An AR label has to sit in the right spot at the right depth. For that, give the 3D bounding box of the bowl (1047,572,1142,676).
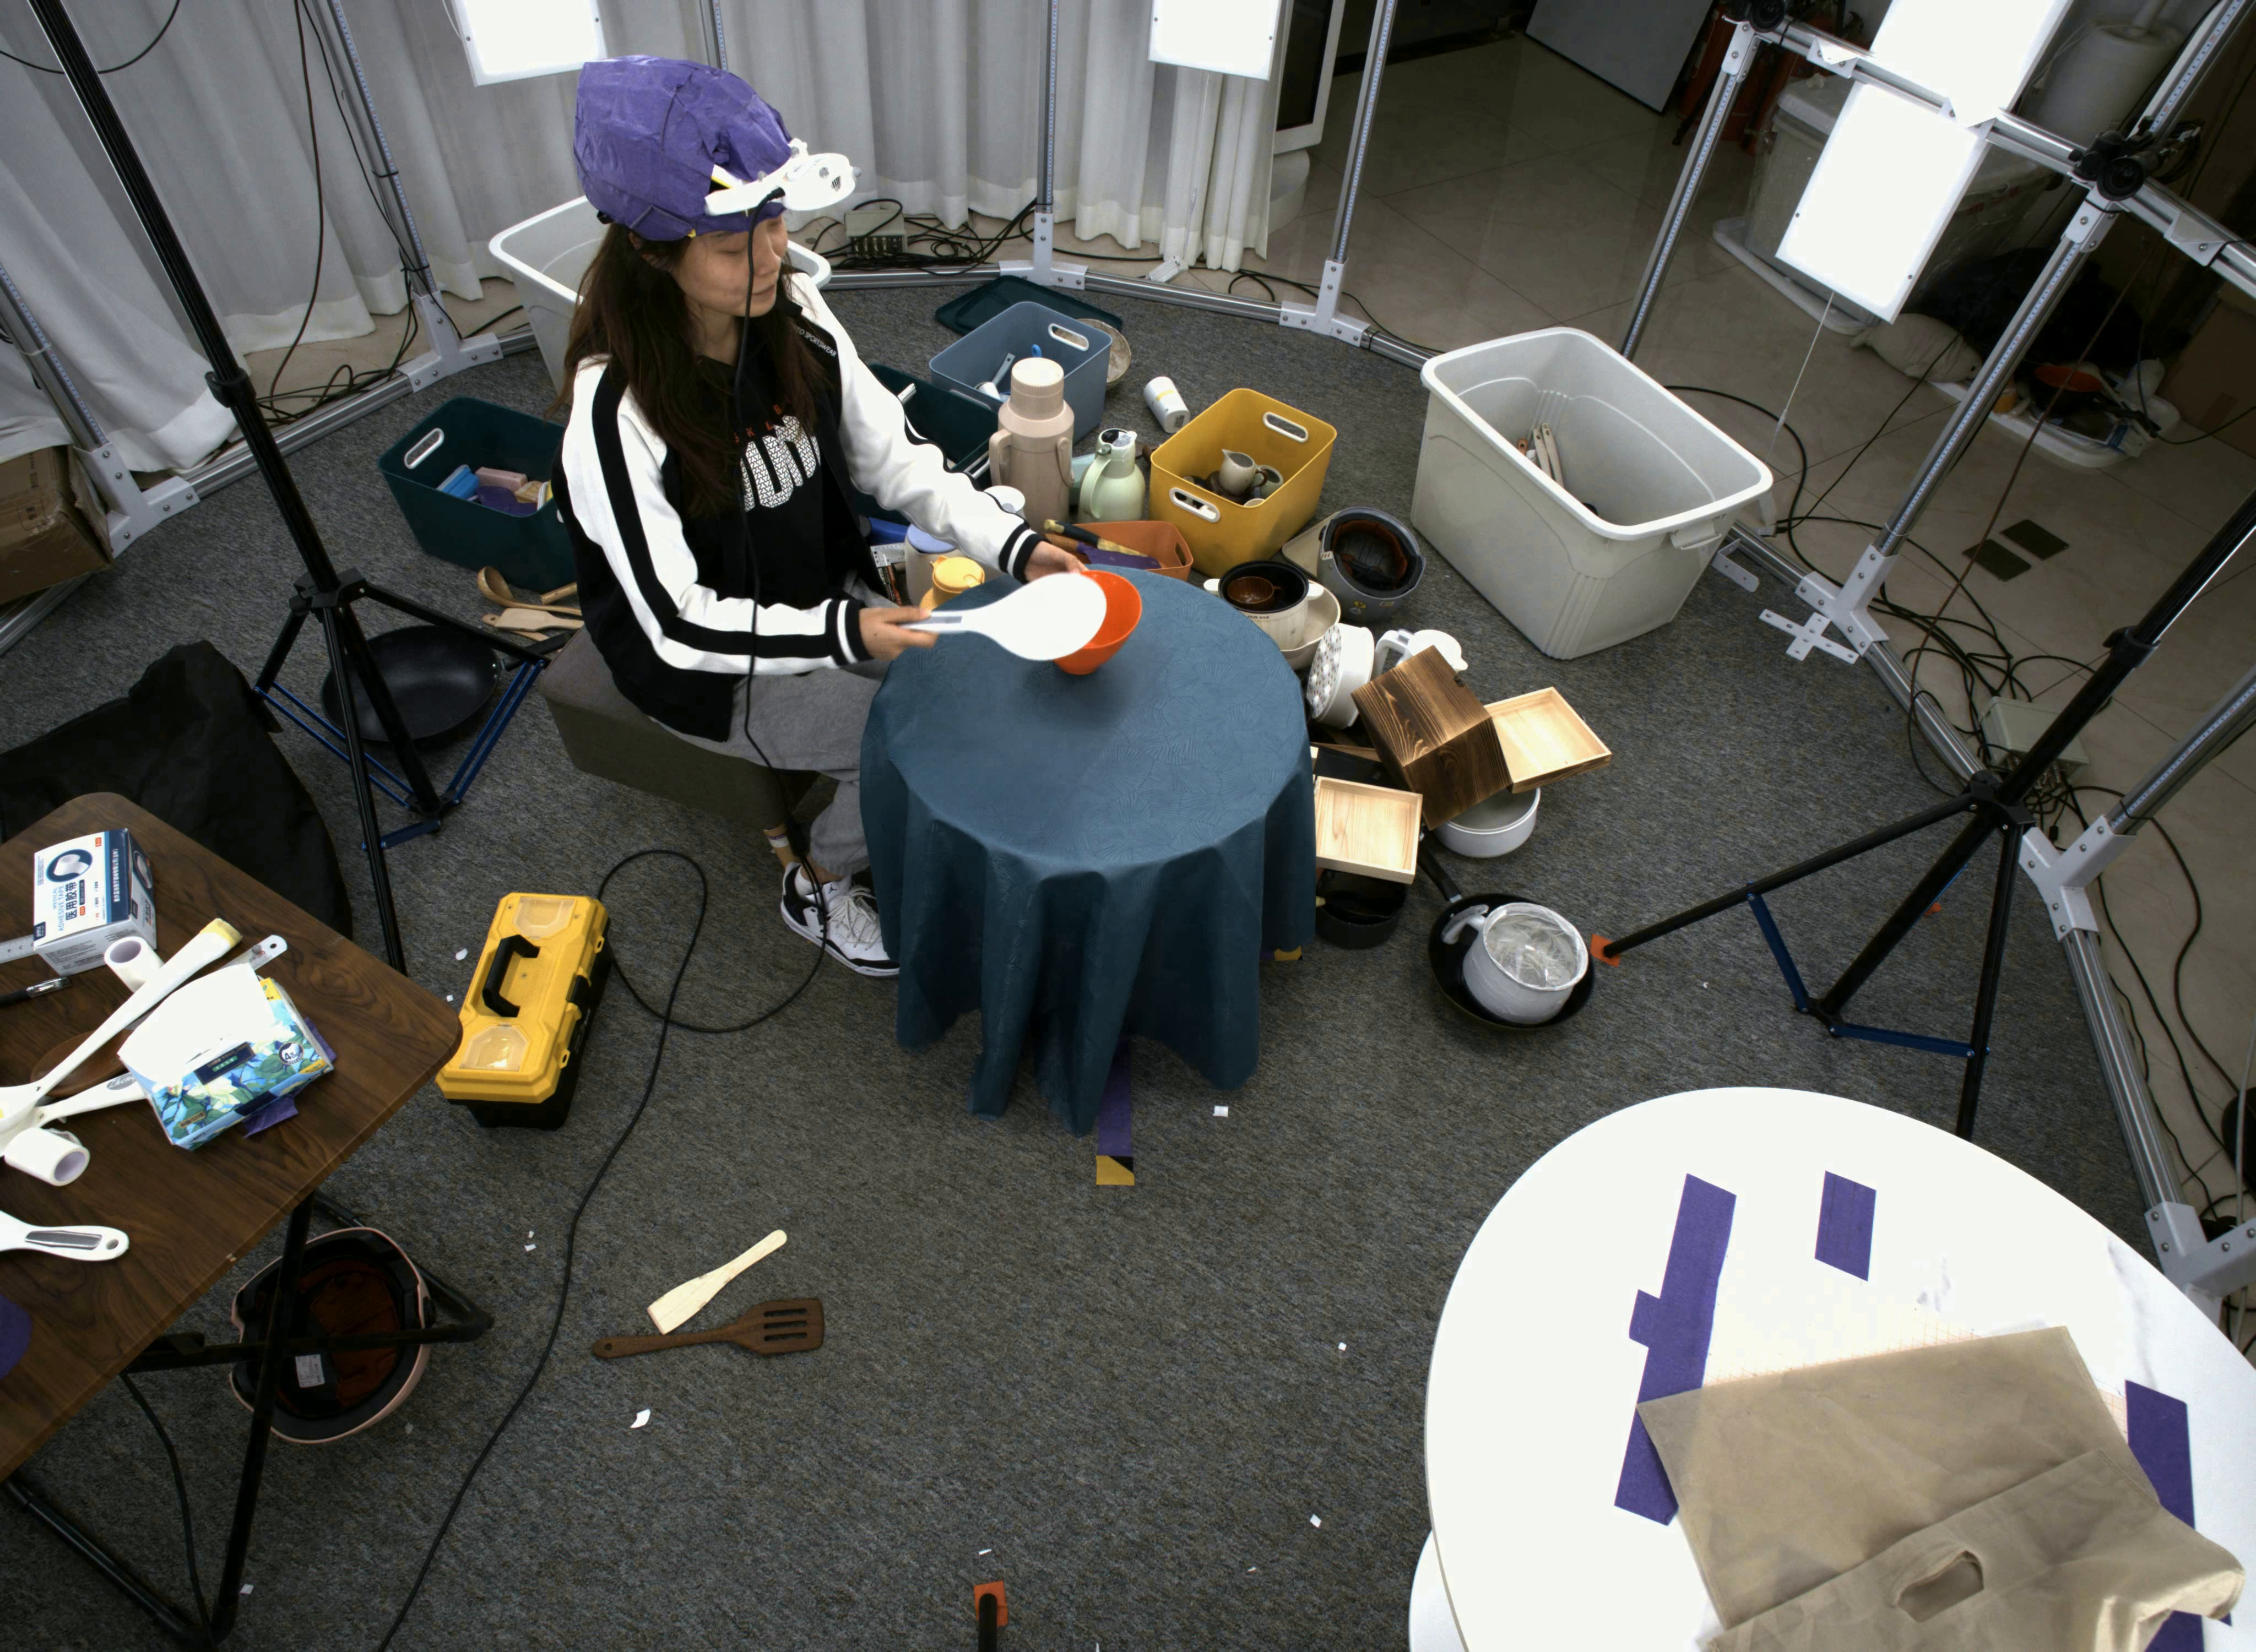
[{"bbox_3d":[-0.058,-0.276,1.827,0.148,0.102,0.151,3,51,-4],"label":"bowl"}]

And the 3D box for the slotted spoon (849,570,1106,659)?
[{"bbox_3d":[-0.194,-0.265,1.640,0.350,0.045,0.139,4,61,13],"label":"slotted spoon"}]
